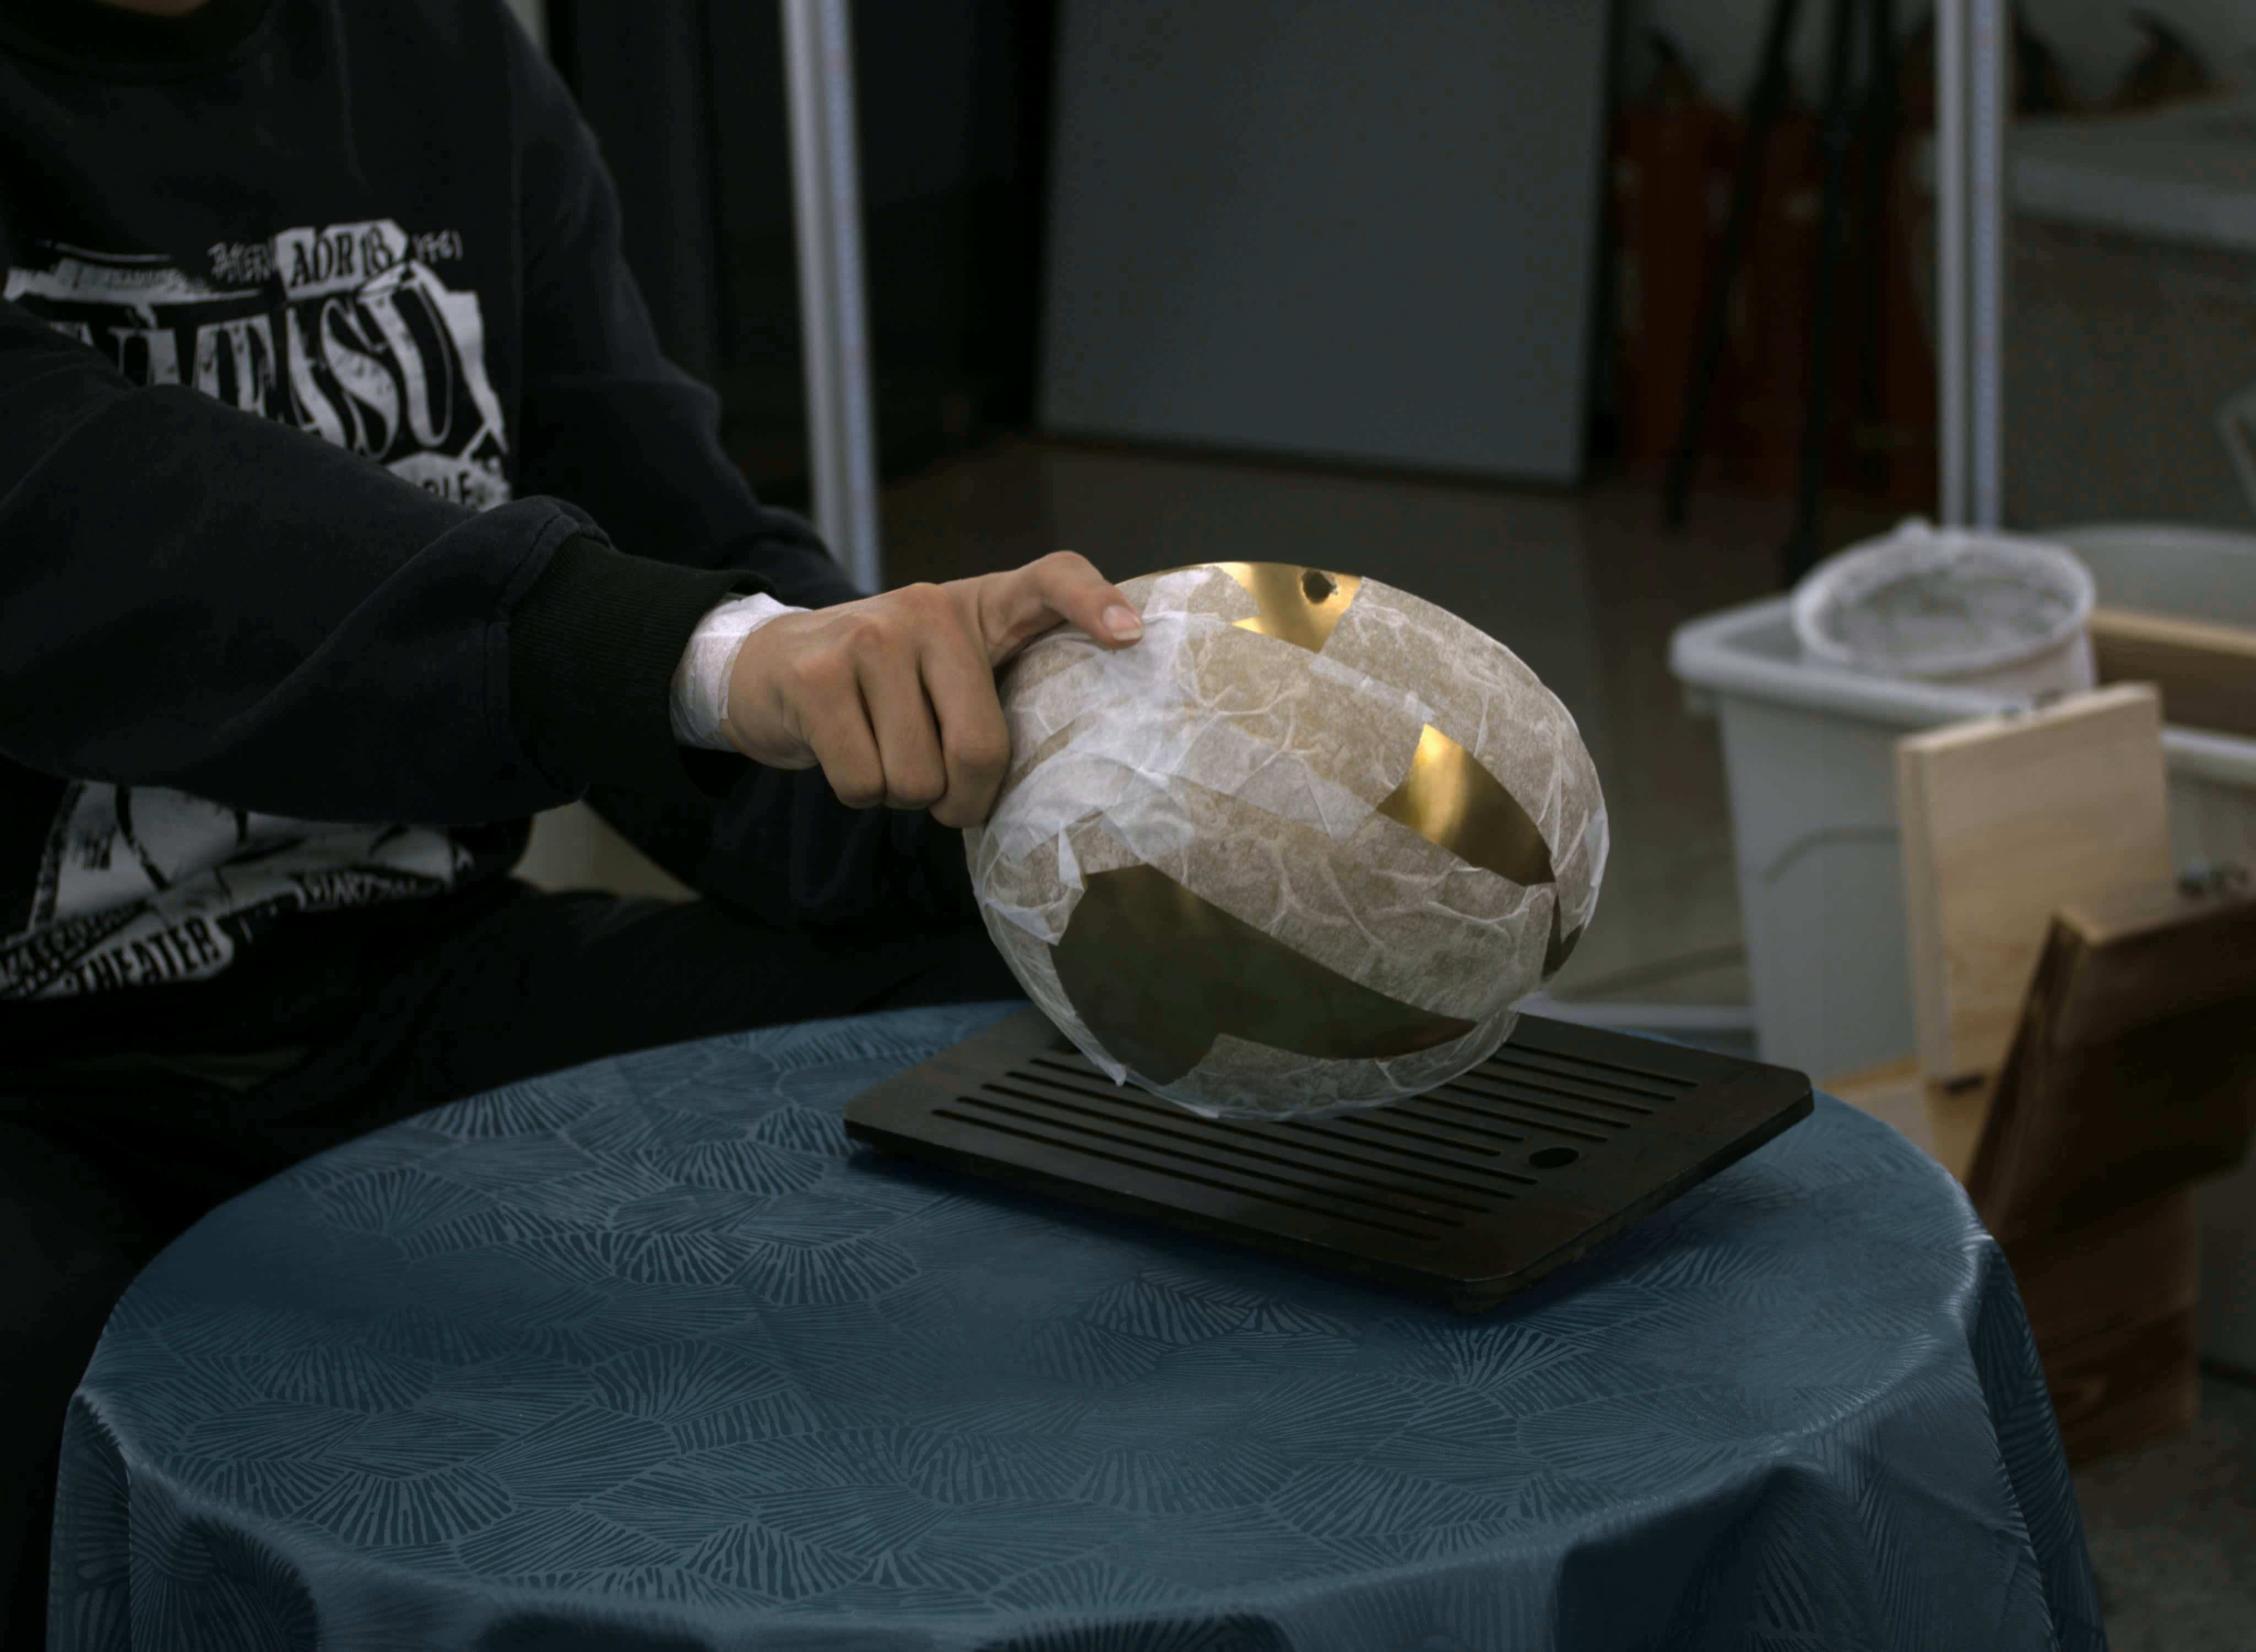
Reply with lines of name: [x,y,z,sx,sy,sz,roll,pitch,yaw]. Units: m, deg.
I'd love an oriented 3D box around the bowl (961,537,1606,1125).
bowl: [0.038,0.023,1.636,0.214,0.215,0.095,1,43,15]

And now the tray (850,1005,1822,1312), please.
tray: [0.064,0.096,1.773,0.167,0.019,0.309,-26,25,-38]
